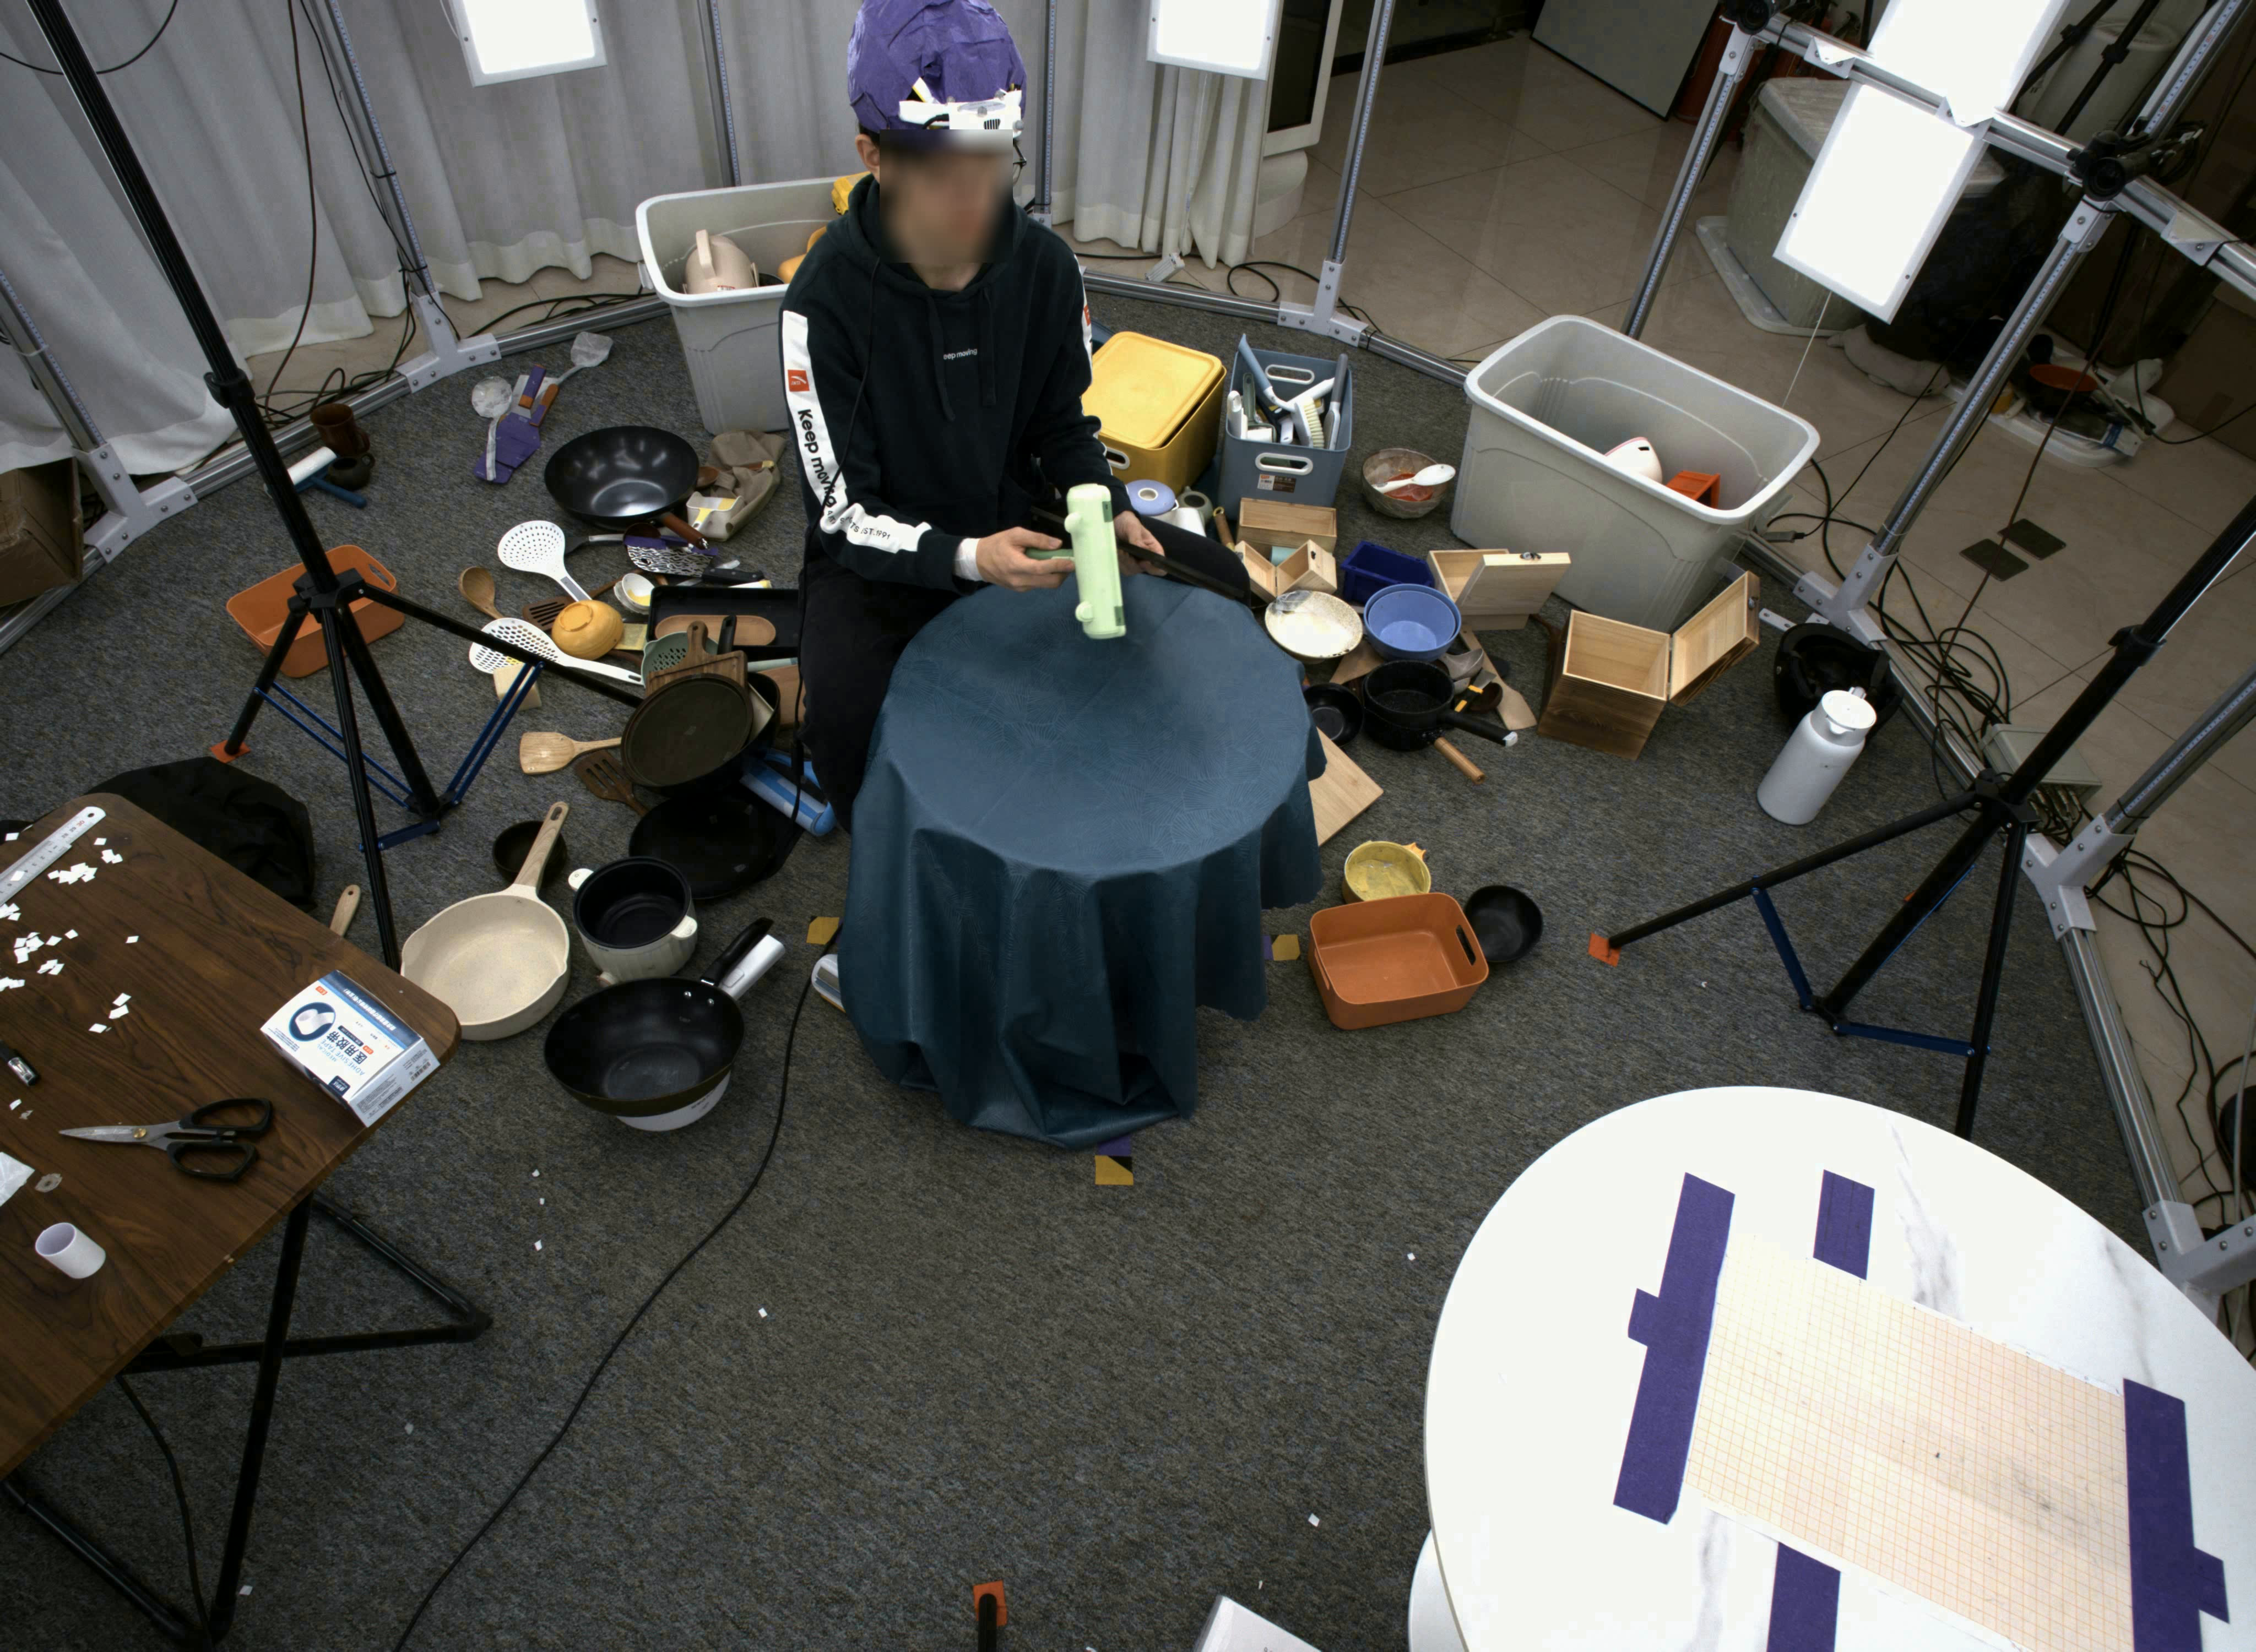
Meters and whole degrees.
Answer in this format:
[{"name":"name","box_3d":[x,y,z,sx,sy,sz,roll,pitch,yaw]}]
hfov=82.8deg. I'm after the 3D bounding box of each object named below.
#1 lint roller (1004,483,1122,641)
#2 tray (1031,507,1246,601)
[{"name":"lint roller","box_3d":[-0.098,-0.342,1.682,0.184,0.195,0.083,5,24,26]},{"name":"tray","box_3d":[0.009,-0.375,1.780,0.168,0.018,0.311,13,13,-45]}]
